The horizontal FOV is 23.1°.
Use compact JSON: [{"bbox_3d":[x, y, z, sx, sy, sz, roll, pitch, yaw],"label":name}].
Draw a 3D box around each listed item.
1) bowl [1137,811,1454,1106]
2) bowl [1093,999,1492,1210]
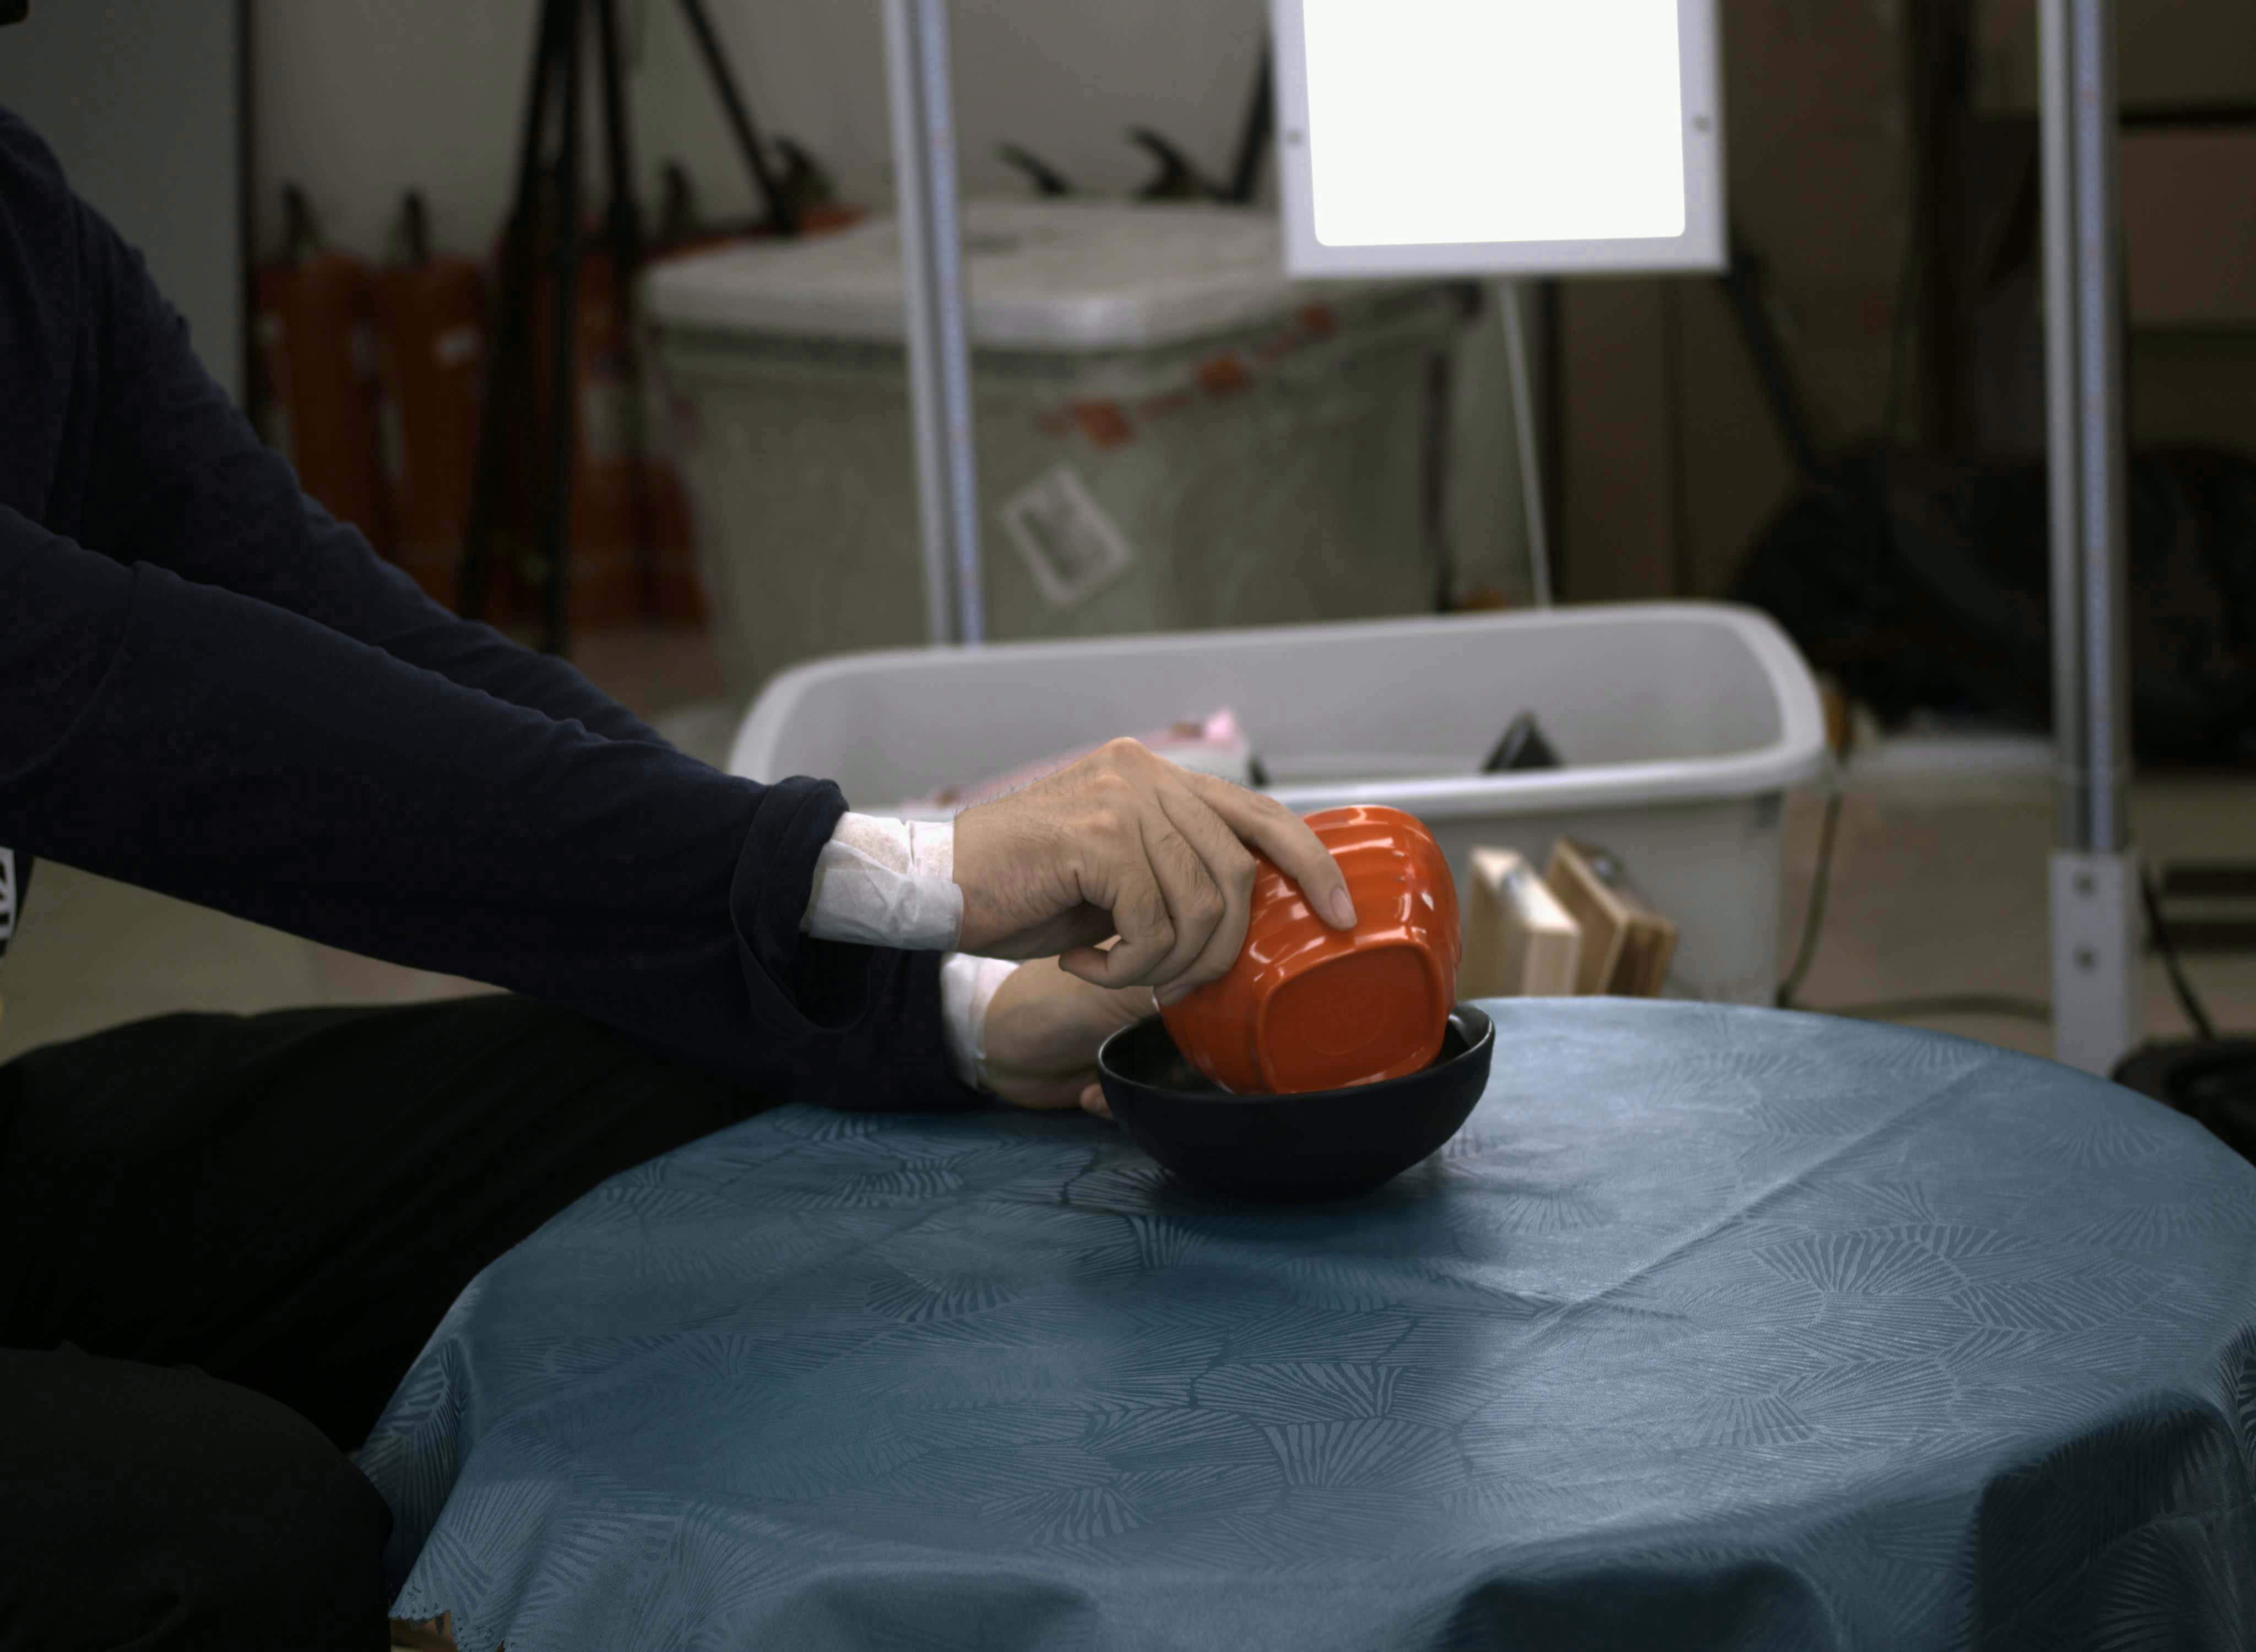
[{"bbox_3d":[0.062,0.054,1.848,0.117,0.120,0.051,-7,44,-11],"label":"bowl"},{"bbox_3d":[0.060,0.099,1.899,0.140,0.050,0.140,-8,11,0],"label":"bowl"}]
